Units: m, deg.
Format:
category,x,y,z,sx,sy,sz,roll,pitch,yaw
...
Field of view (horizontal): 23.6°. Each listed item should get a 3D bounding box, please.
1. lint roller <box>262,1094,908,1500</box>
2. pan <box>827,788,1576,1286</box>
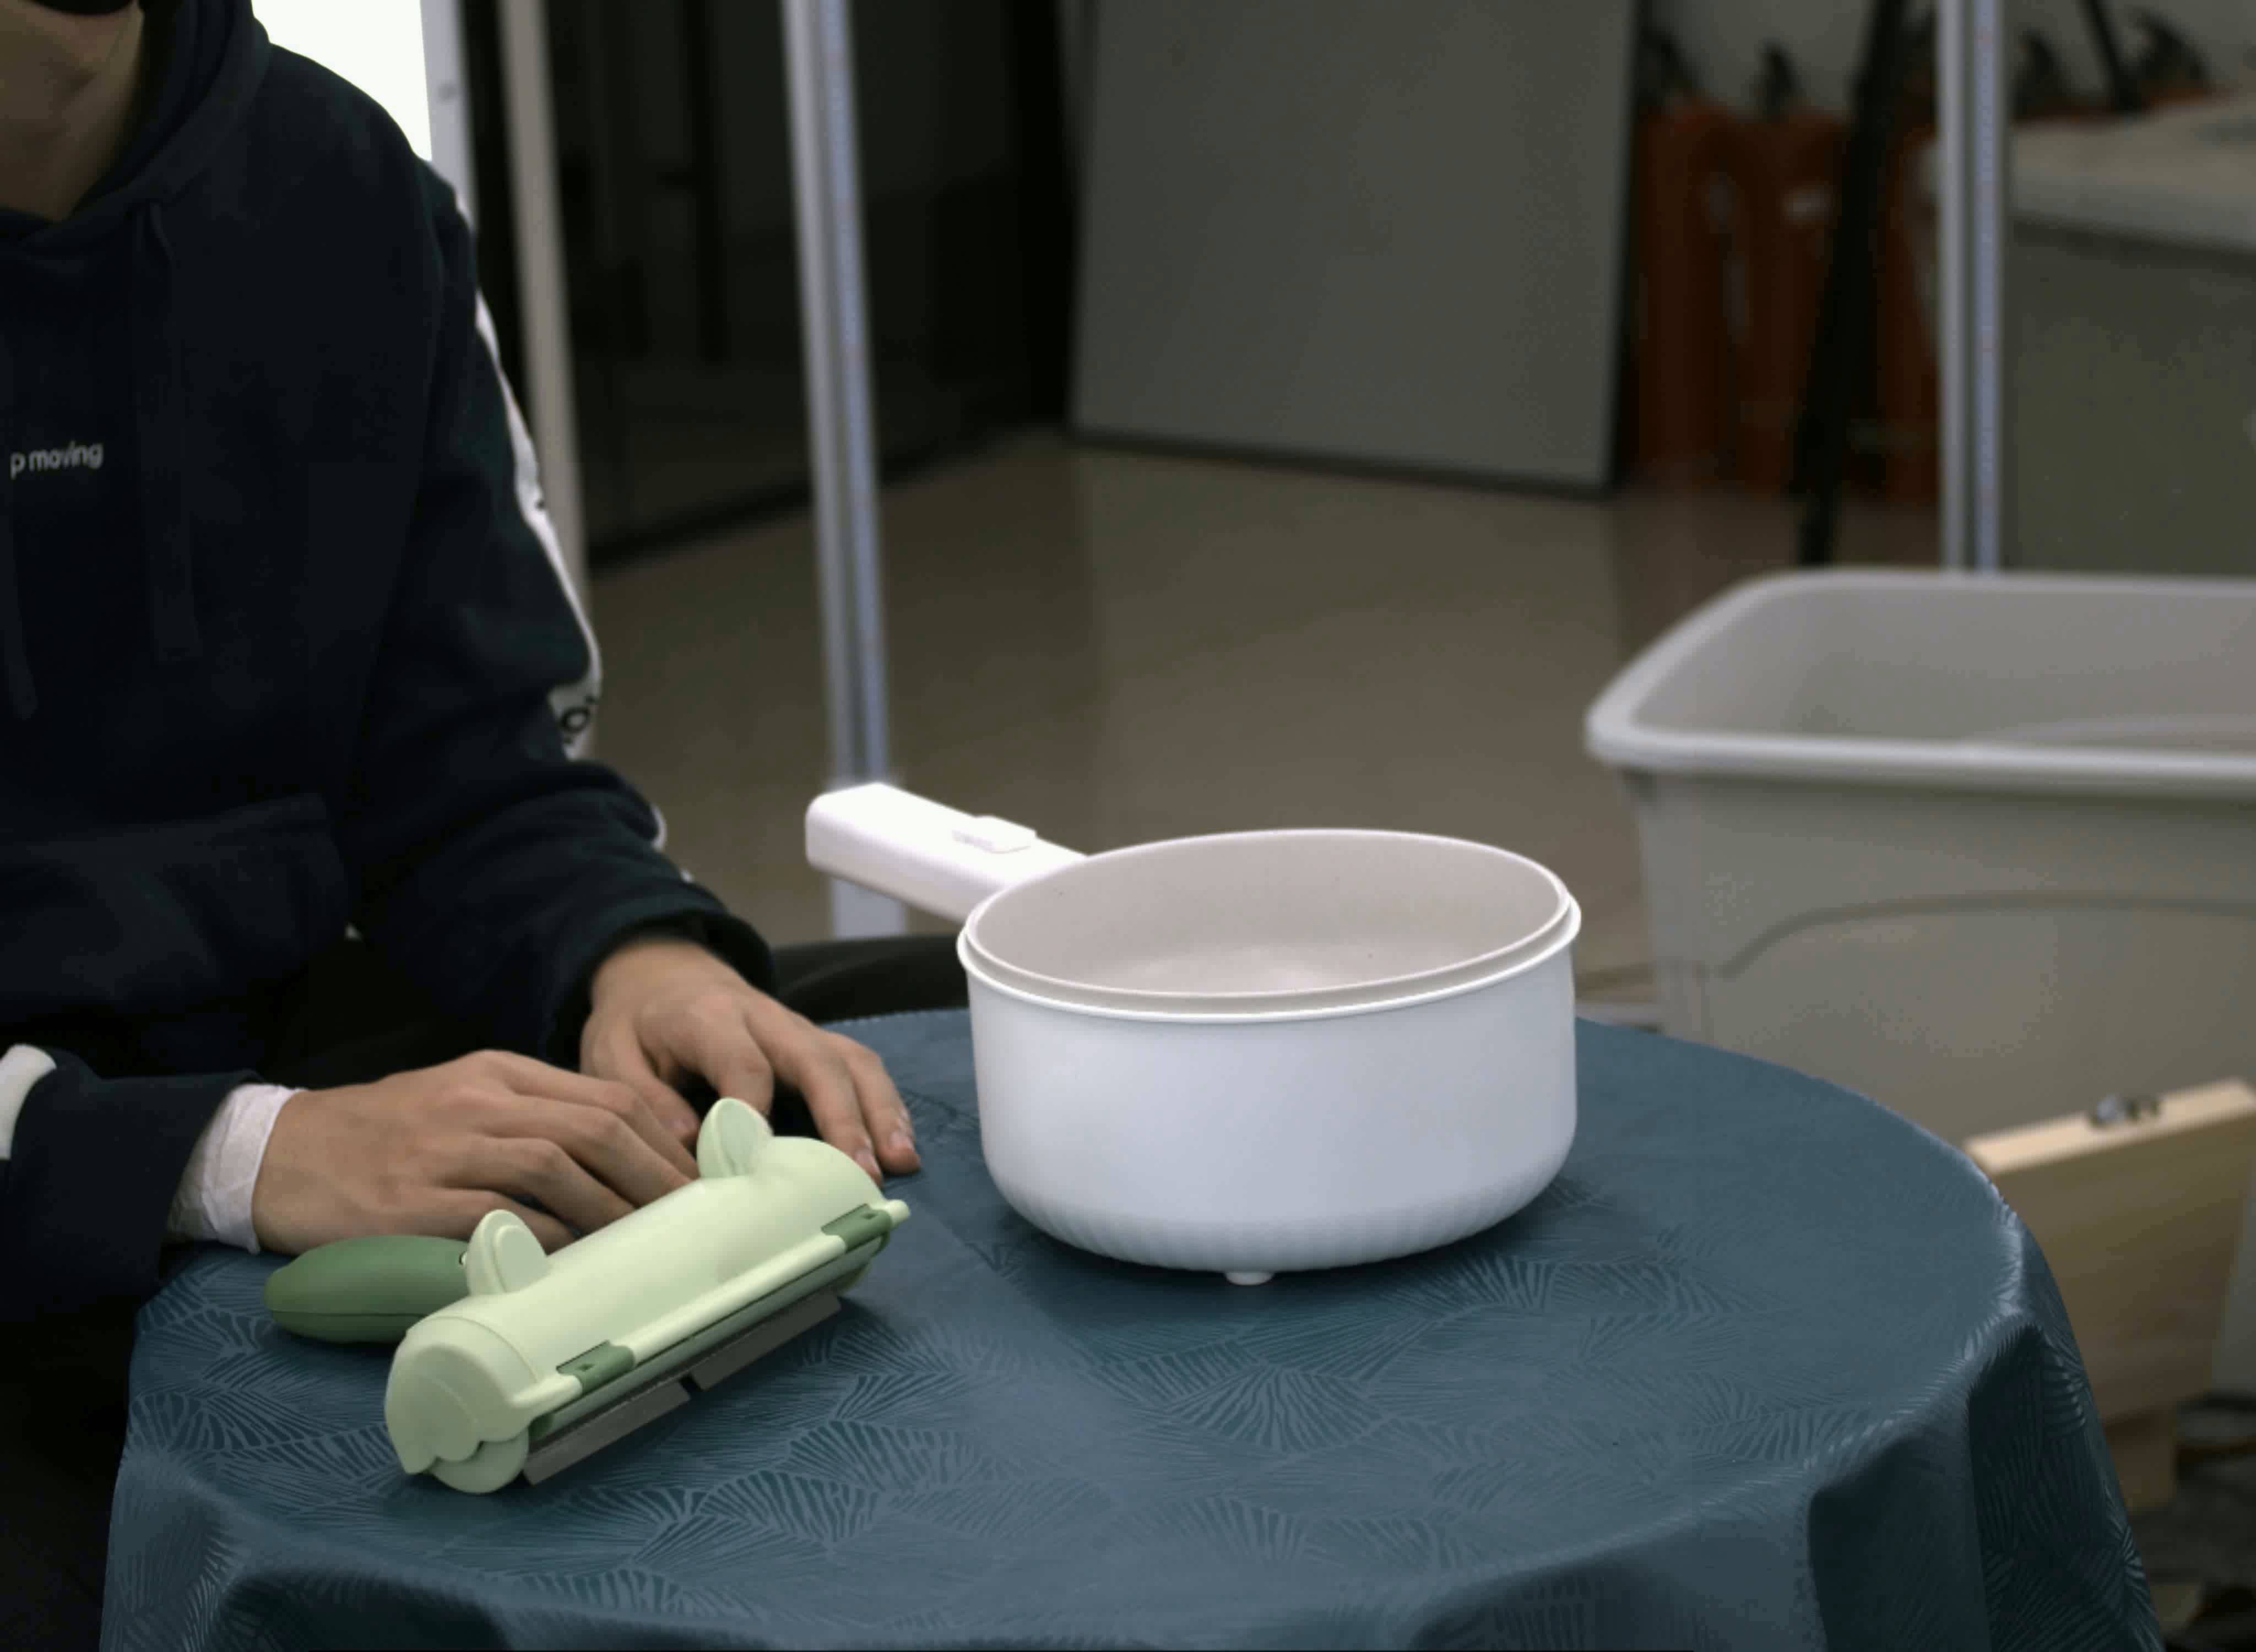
category,x,y,z,sx,sy,sz,roll,pitch,yaw
lint roller,-0.191,0.129,1.639,0.184,0.083,0.195,11,20,31
pan,0.005,0.063,1.799,0.197,0.103,0.358,-13,16,-31
